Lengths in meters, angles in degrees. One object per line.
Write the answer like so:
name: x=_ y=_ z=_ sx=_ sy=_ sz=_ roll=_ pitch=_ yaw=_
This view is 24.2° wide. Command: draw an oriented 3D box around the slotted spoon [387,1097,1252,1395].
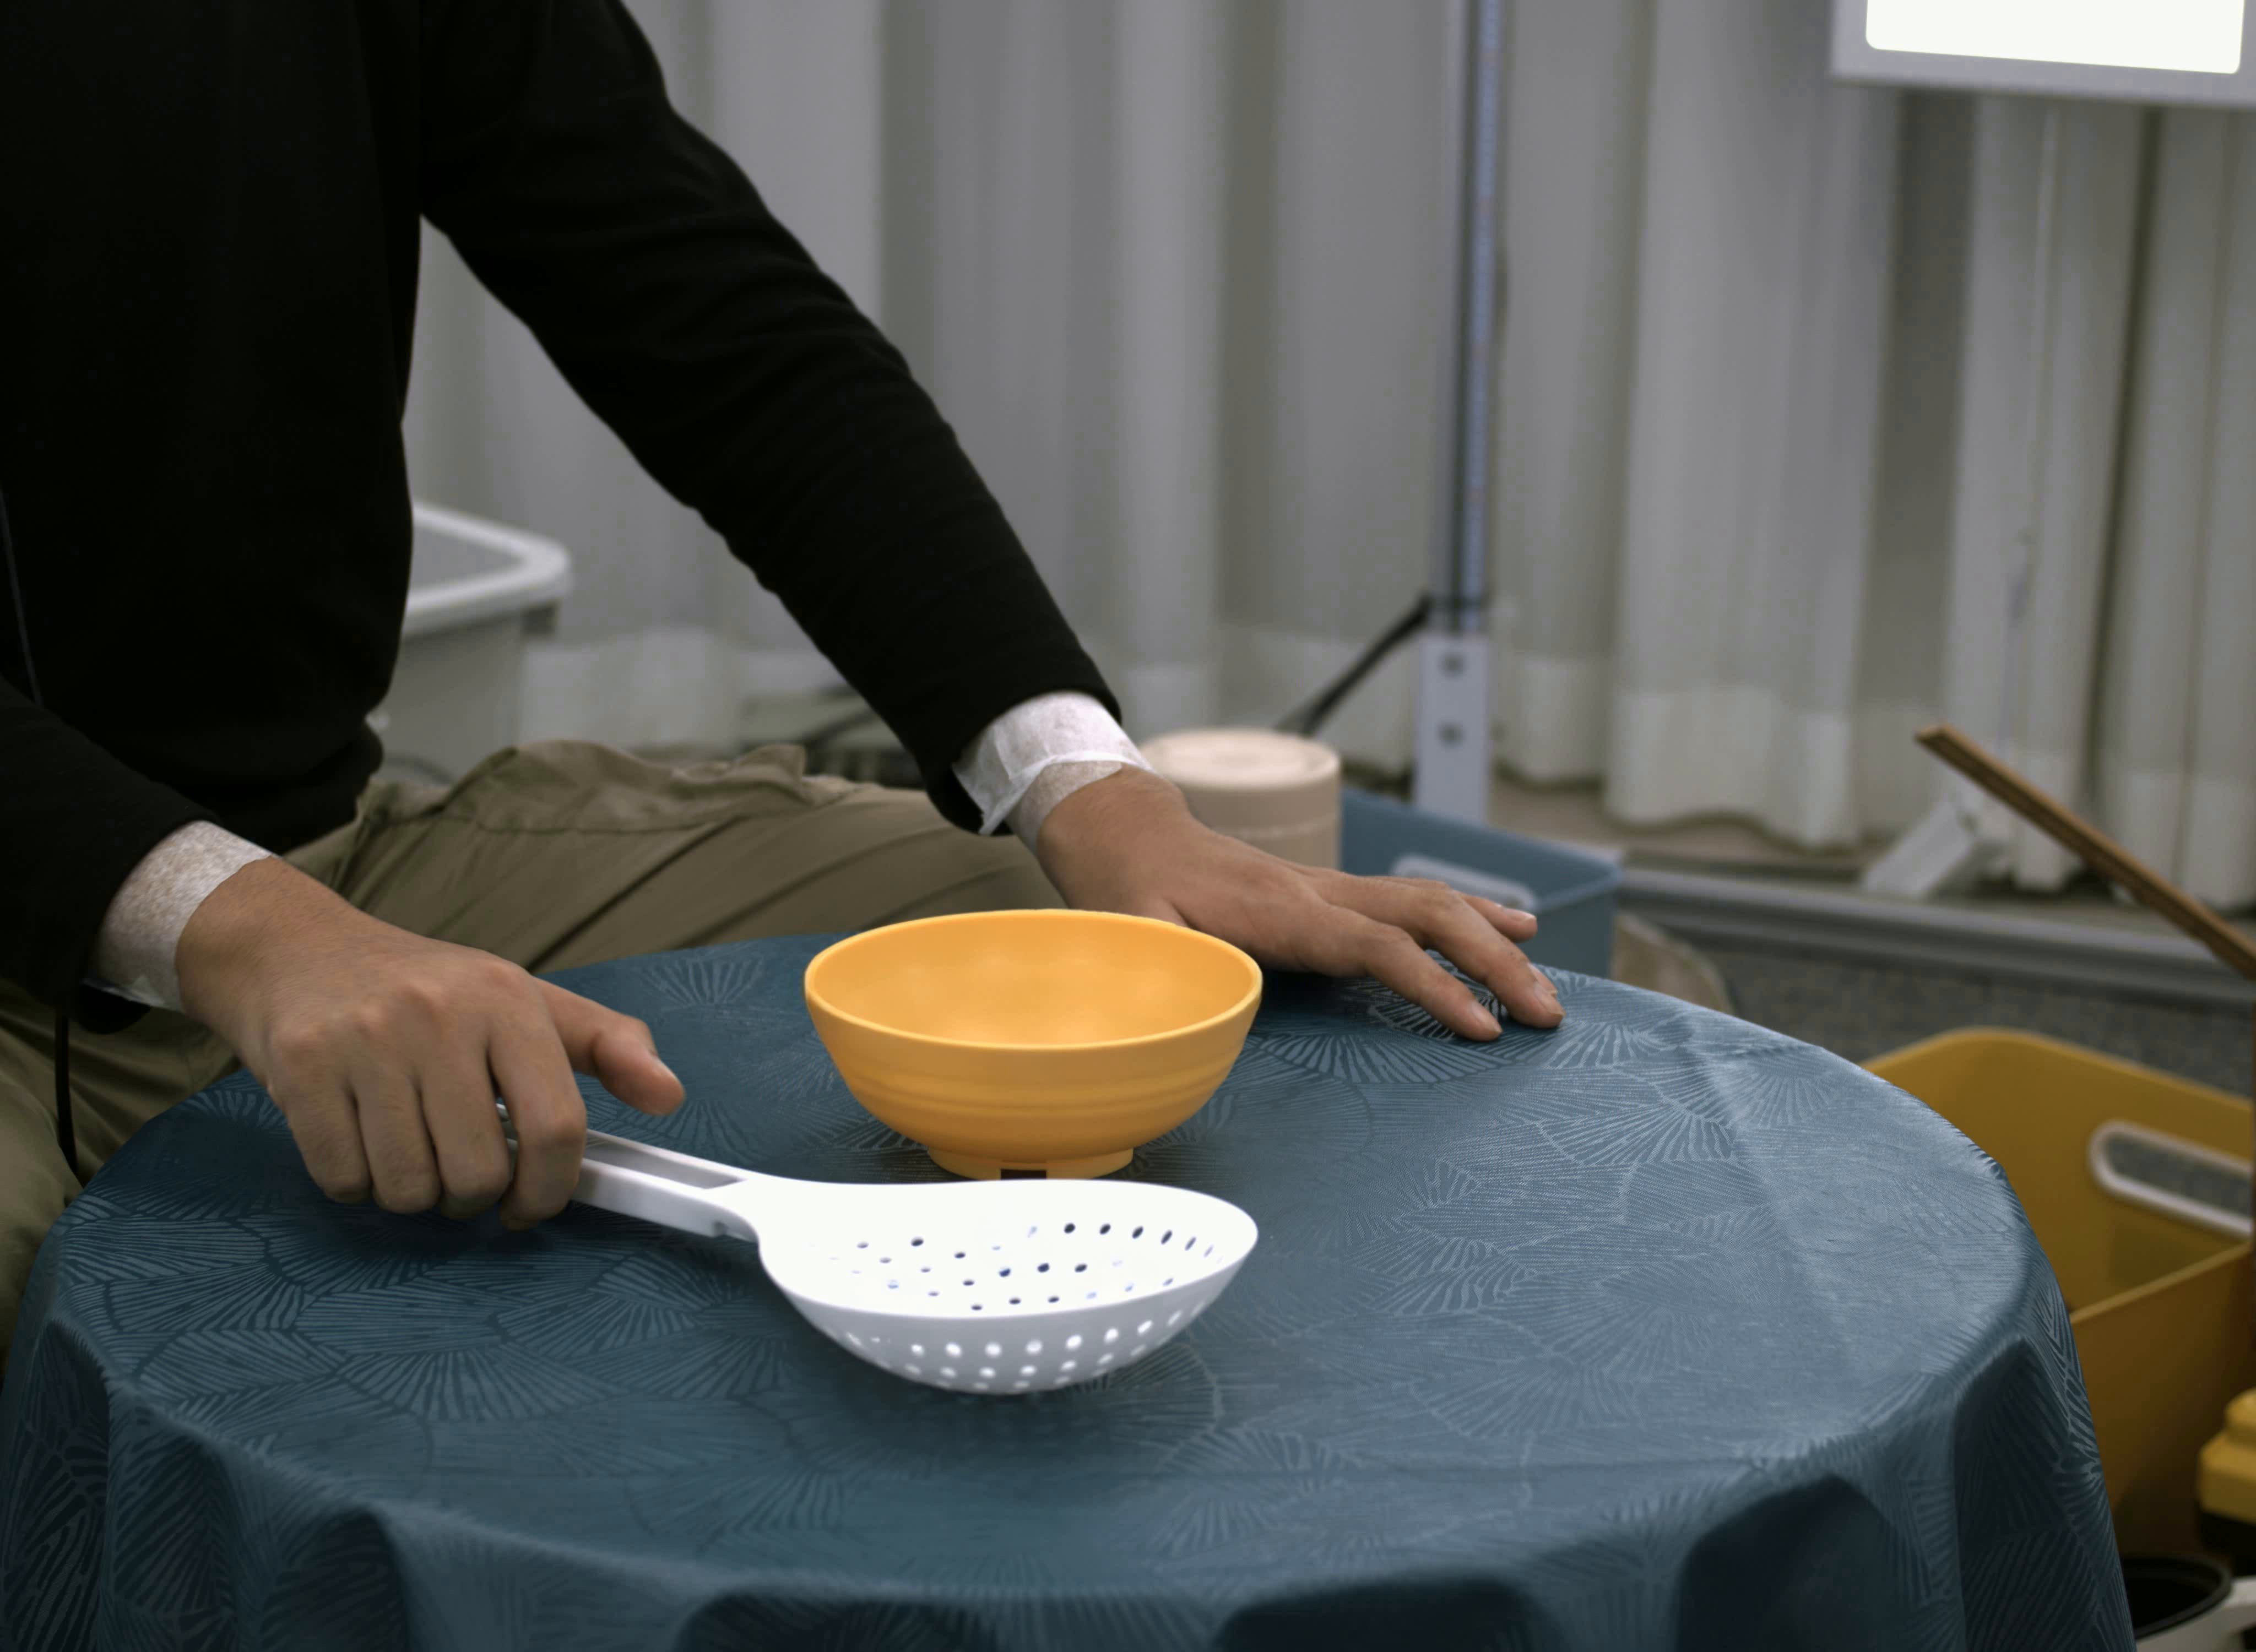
slotted spoon: x=-0.106 y=0.112 z=1.533 sx=0.136 sy=0.046 sz=0.345 roll=-16 pitch=21 yaw=-42

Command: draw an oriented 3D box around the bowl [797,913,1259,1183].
bowl: x=-0.032 y=0.076 z=1.649 sx=0.145 sy=0.060 sz=0.144 roll=3 pitch=15 yaw=0
